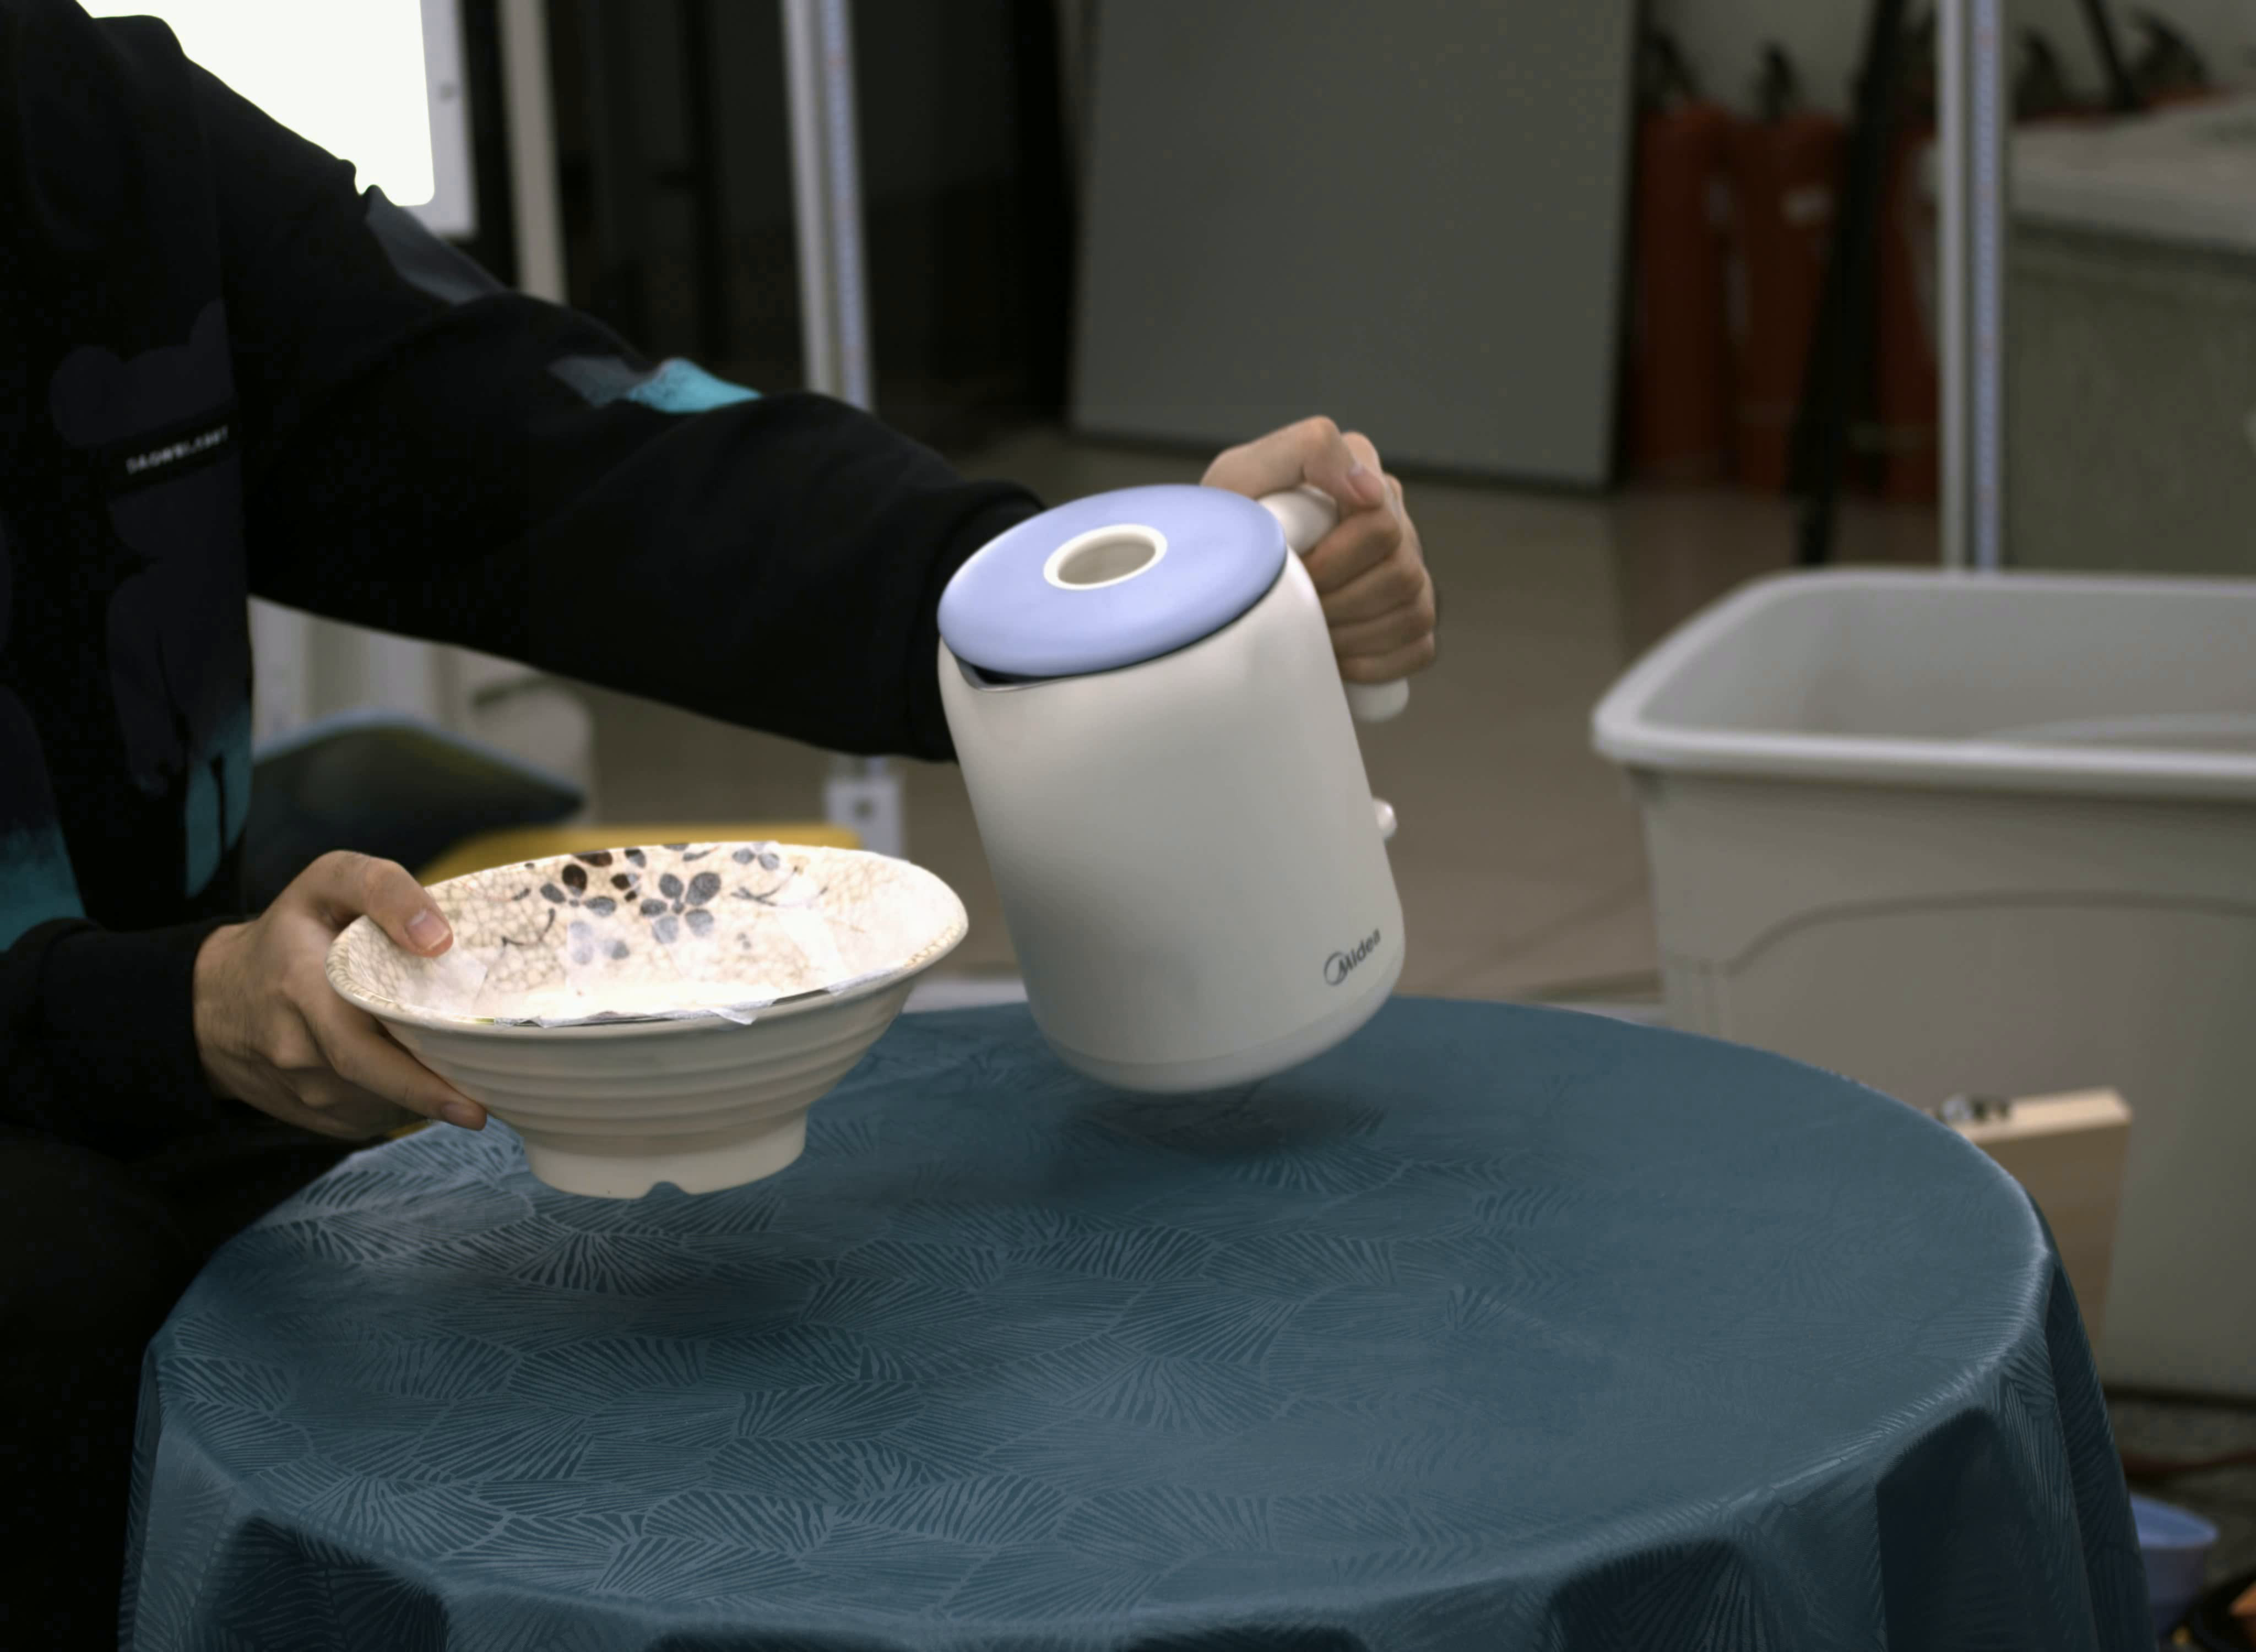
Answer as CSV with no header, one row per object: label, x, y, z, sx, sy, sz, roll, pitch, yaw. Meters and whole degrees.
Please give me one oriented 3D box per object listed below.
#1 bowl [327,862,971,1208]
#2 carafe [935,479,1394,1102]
bowl,-0.145,0.070,1.691,0.201,0.079,0.204,-6,11,0
carafe,0.026,-0.024,1.818,0.133,0.183,0.188,11,35,39
